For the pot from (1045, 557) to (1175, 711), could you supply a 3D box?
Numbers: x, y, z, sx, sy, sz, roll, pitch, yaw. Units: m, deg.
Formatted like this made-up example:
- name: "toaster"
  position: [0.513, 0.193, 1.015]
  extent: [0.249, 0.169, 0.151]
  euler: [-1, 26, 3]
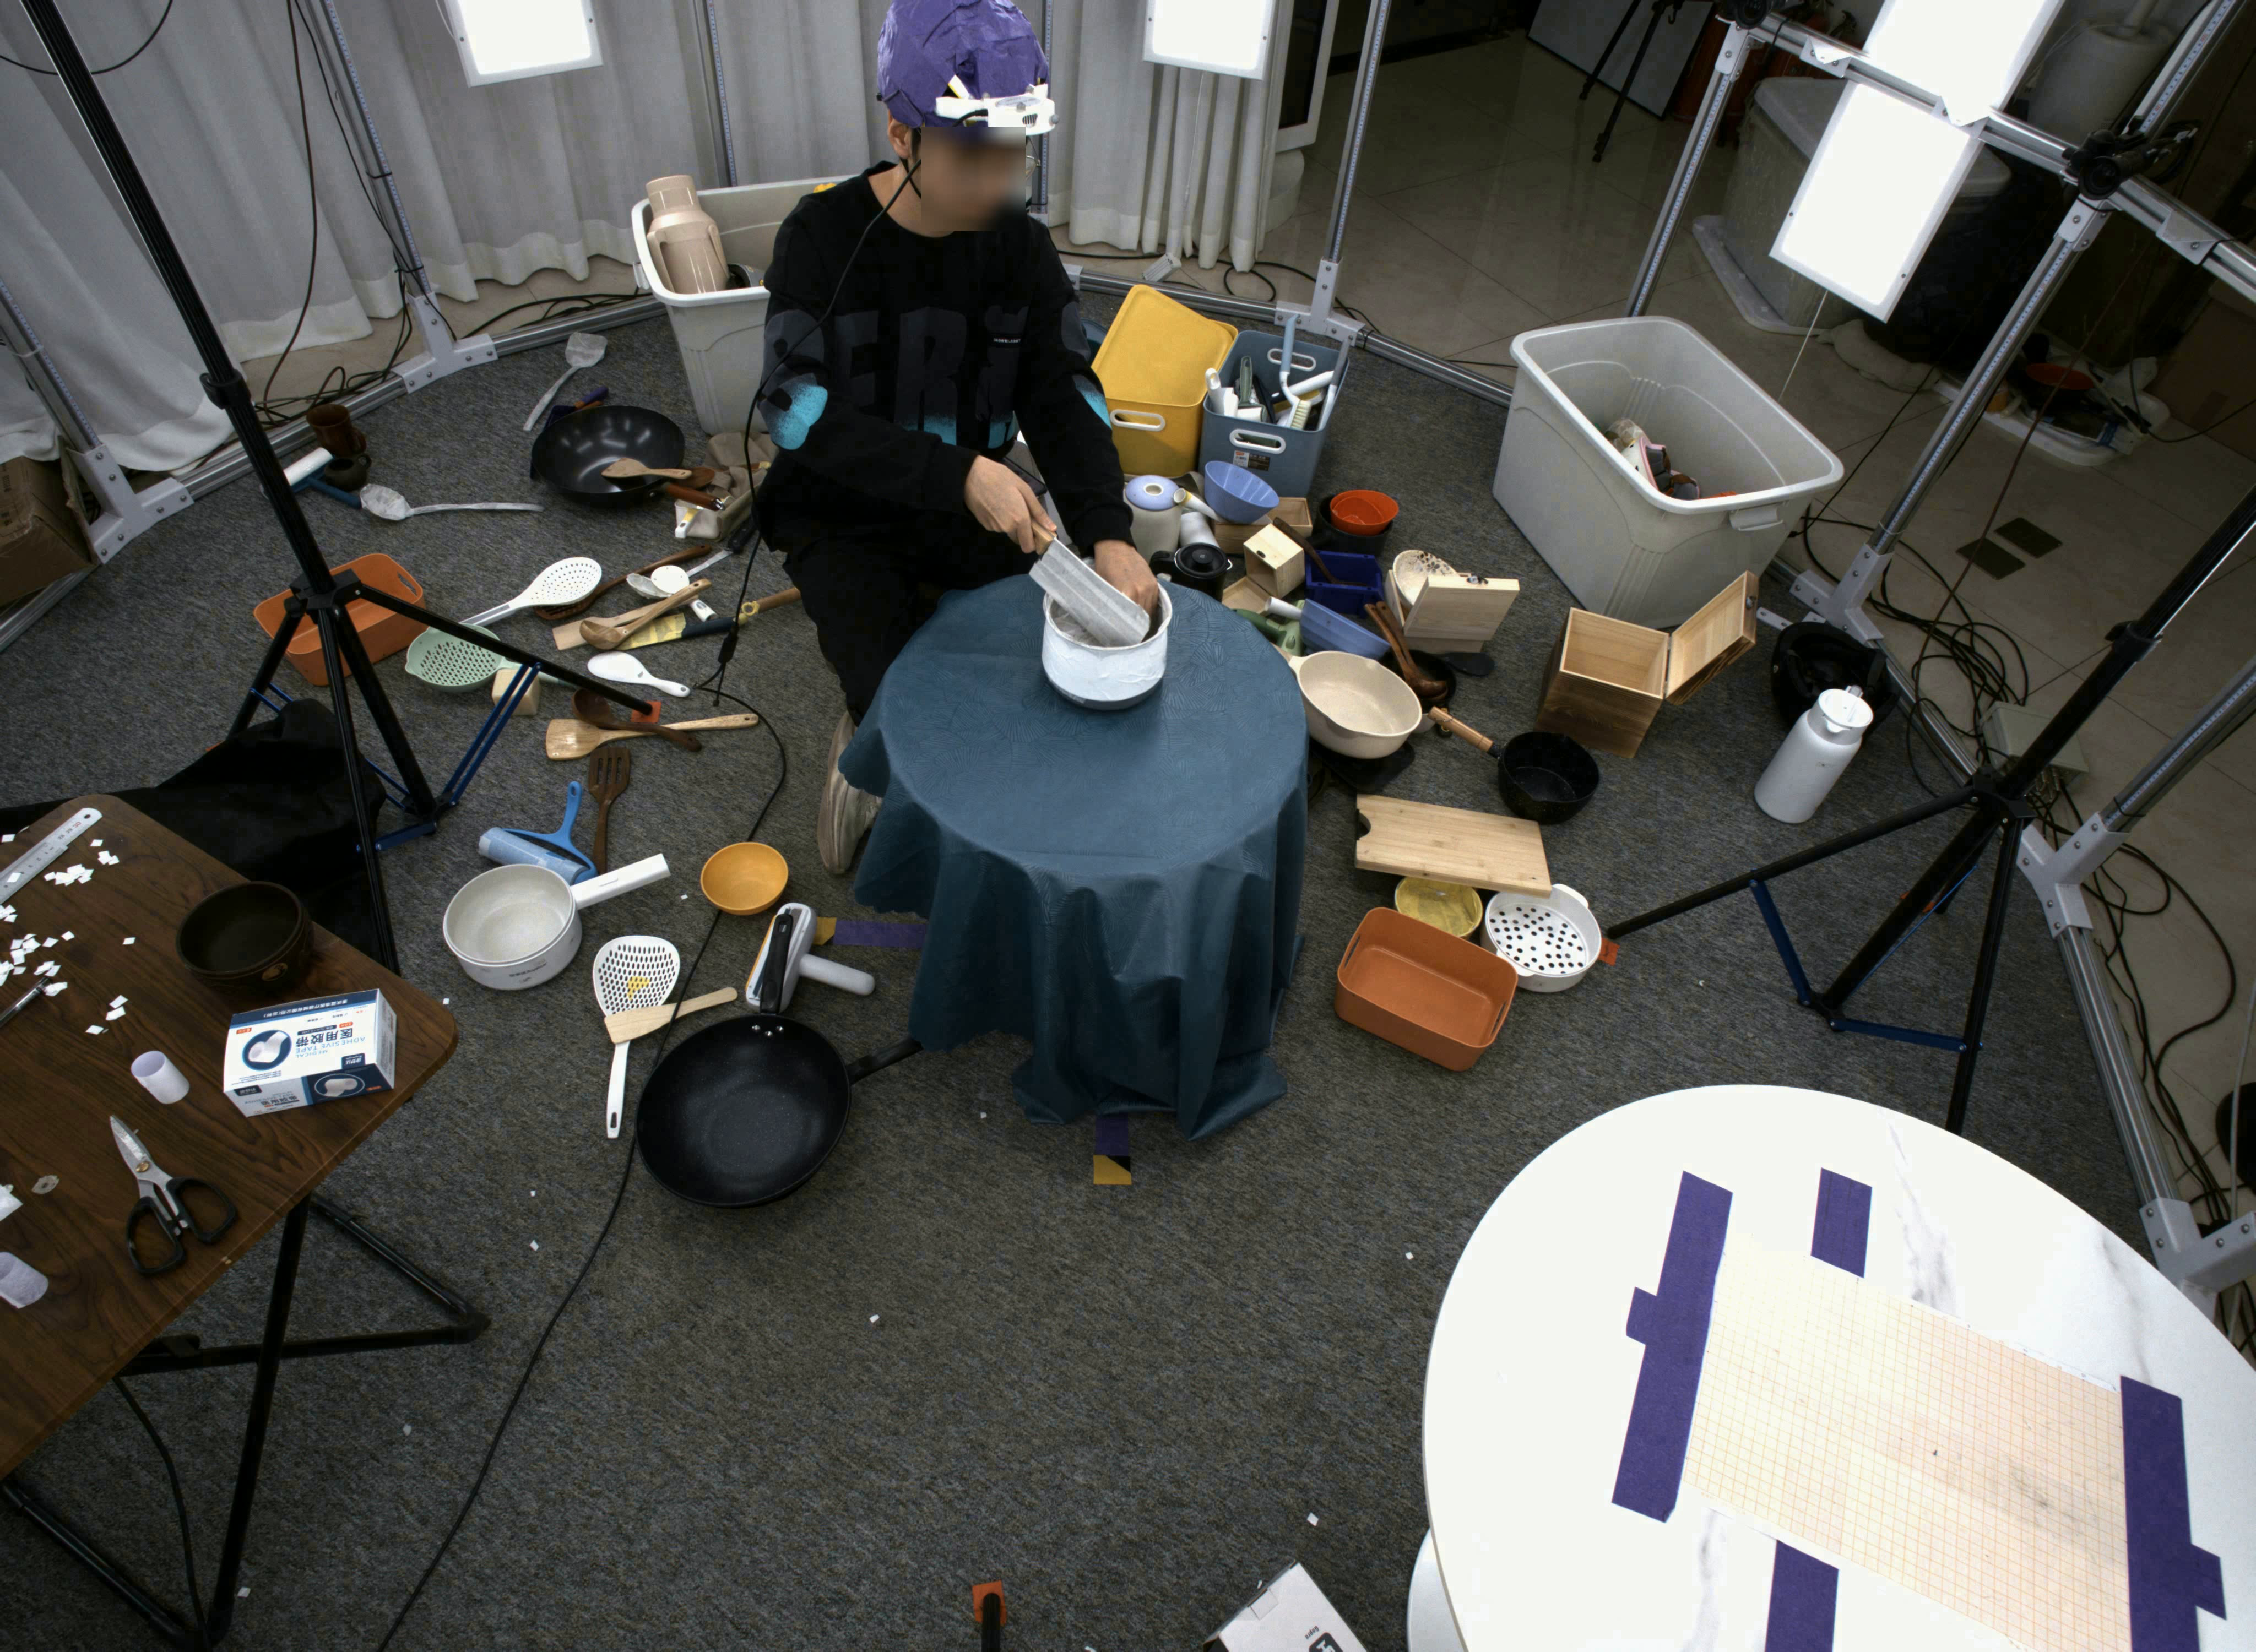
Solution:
- name: "pot"
  position: [-0.036, -0.282, 1.822]
  extent: [0.178, 0.133, 0.239]
  euler: [-10, 51, -14]

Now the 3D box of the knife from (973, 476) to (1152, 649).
- name: "knife"
  position: [-0.089, -0.349, 1.726]
  extent: [0.315, 0.112, 0.022]
  euler: [45, 51, 1]
